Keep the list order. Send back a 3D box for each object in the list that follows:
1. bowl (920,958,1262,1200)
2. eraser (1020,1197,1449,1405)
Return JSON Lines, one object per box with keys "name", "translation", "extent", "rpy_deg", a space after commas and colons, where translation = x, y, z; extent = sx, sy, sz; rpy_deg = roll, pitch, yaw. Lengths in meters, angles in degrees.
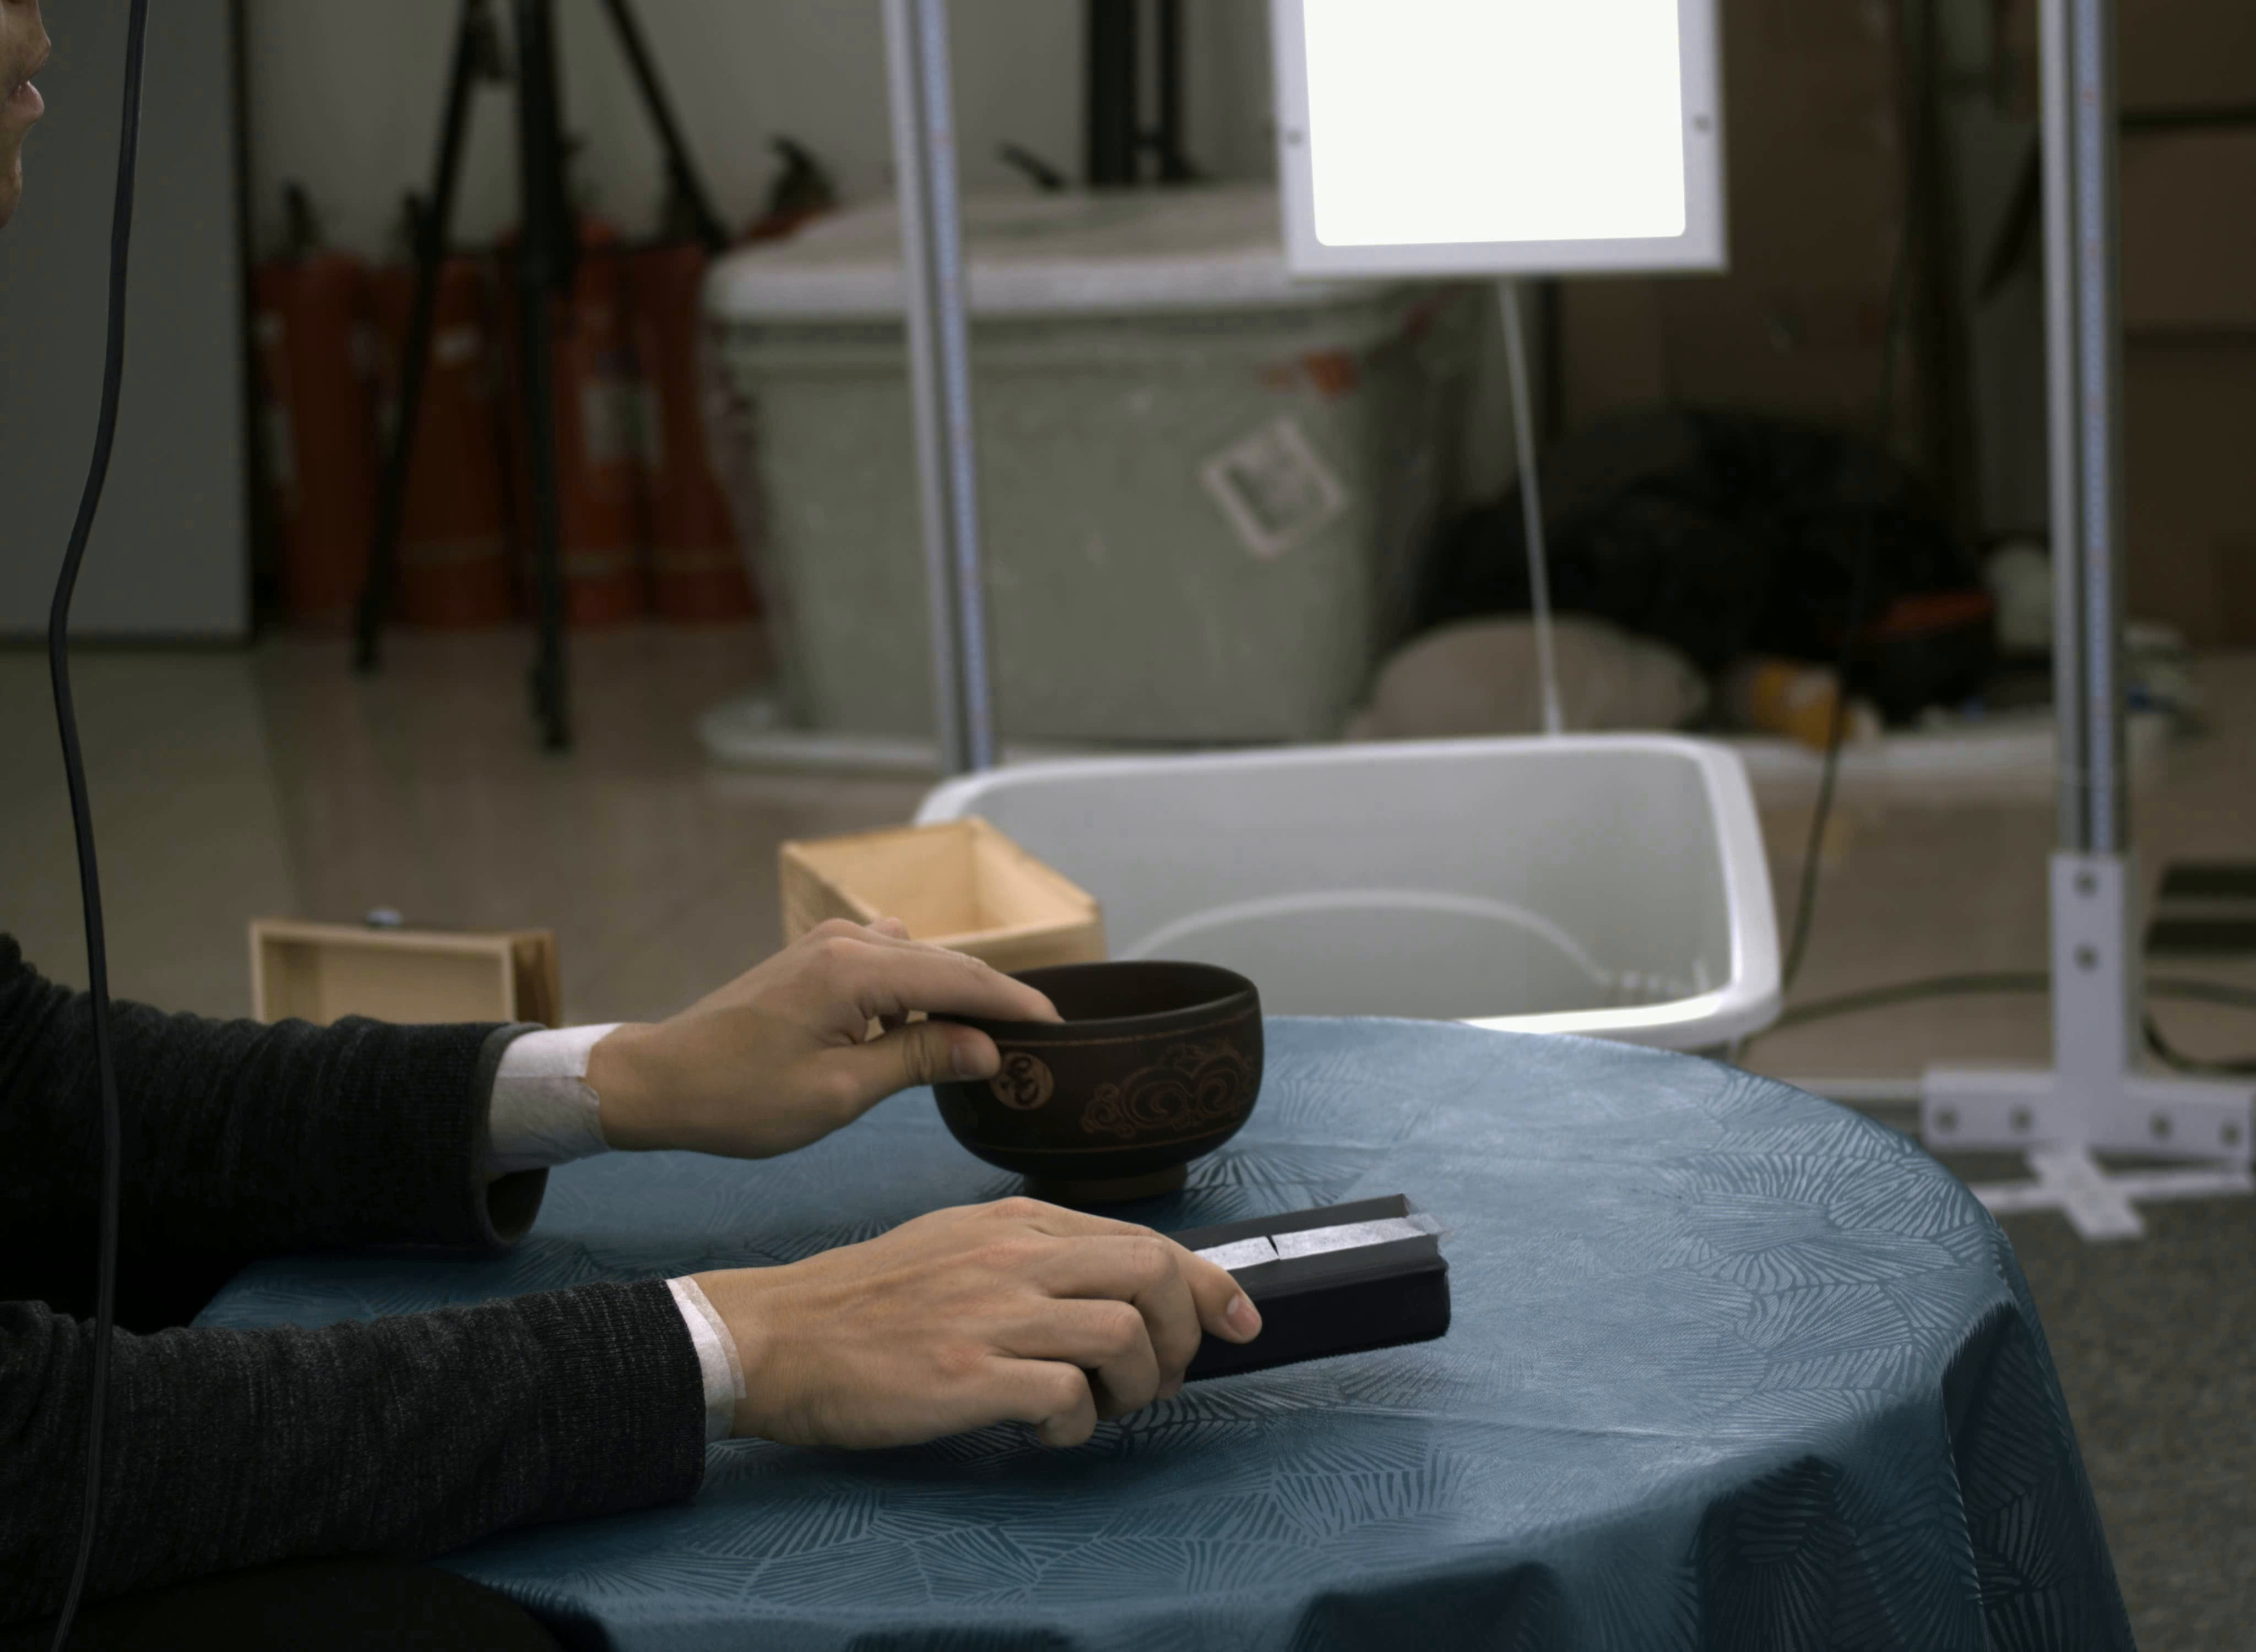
{"name": "bowl", "translation": [-0.011, 0.089, 1.893], "extent": [0.117, 0.070, 0.118], "rpy_deg": [-6, 8, -1]}
{"name": "eraser", "translation": [0.033, 0.143, 1.675], "extent": [0.124, 0.030, 0.054], "rpy_deg": [-10, 21, -7]}
